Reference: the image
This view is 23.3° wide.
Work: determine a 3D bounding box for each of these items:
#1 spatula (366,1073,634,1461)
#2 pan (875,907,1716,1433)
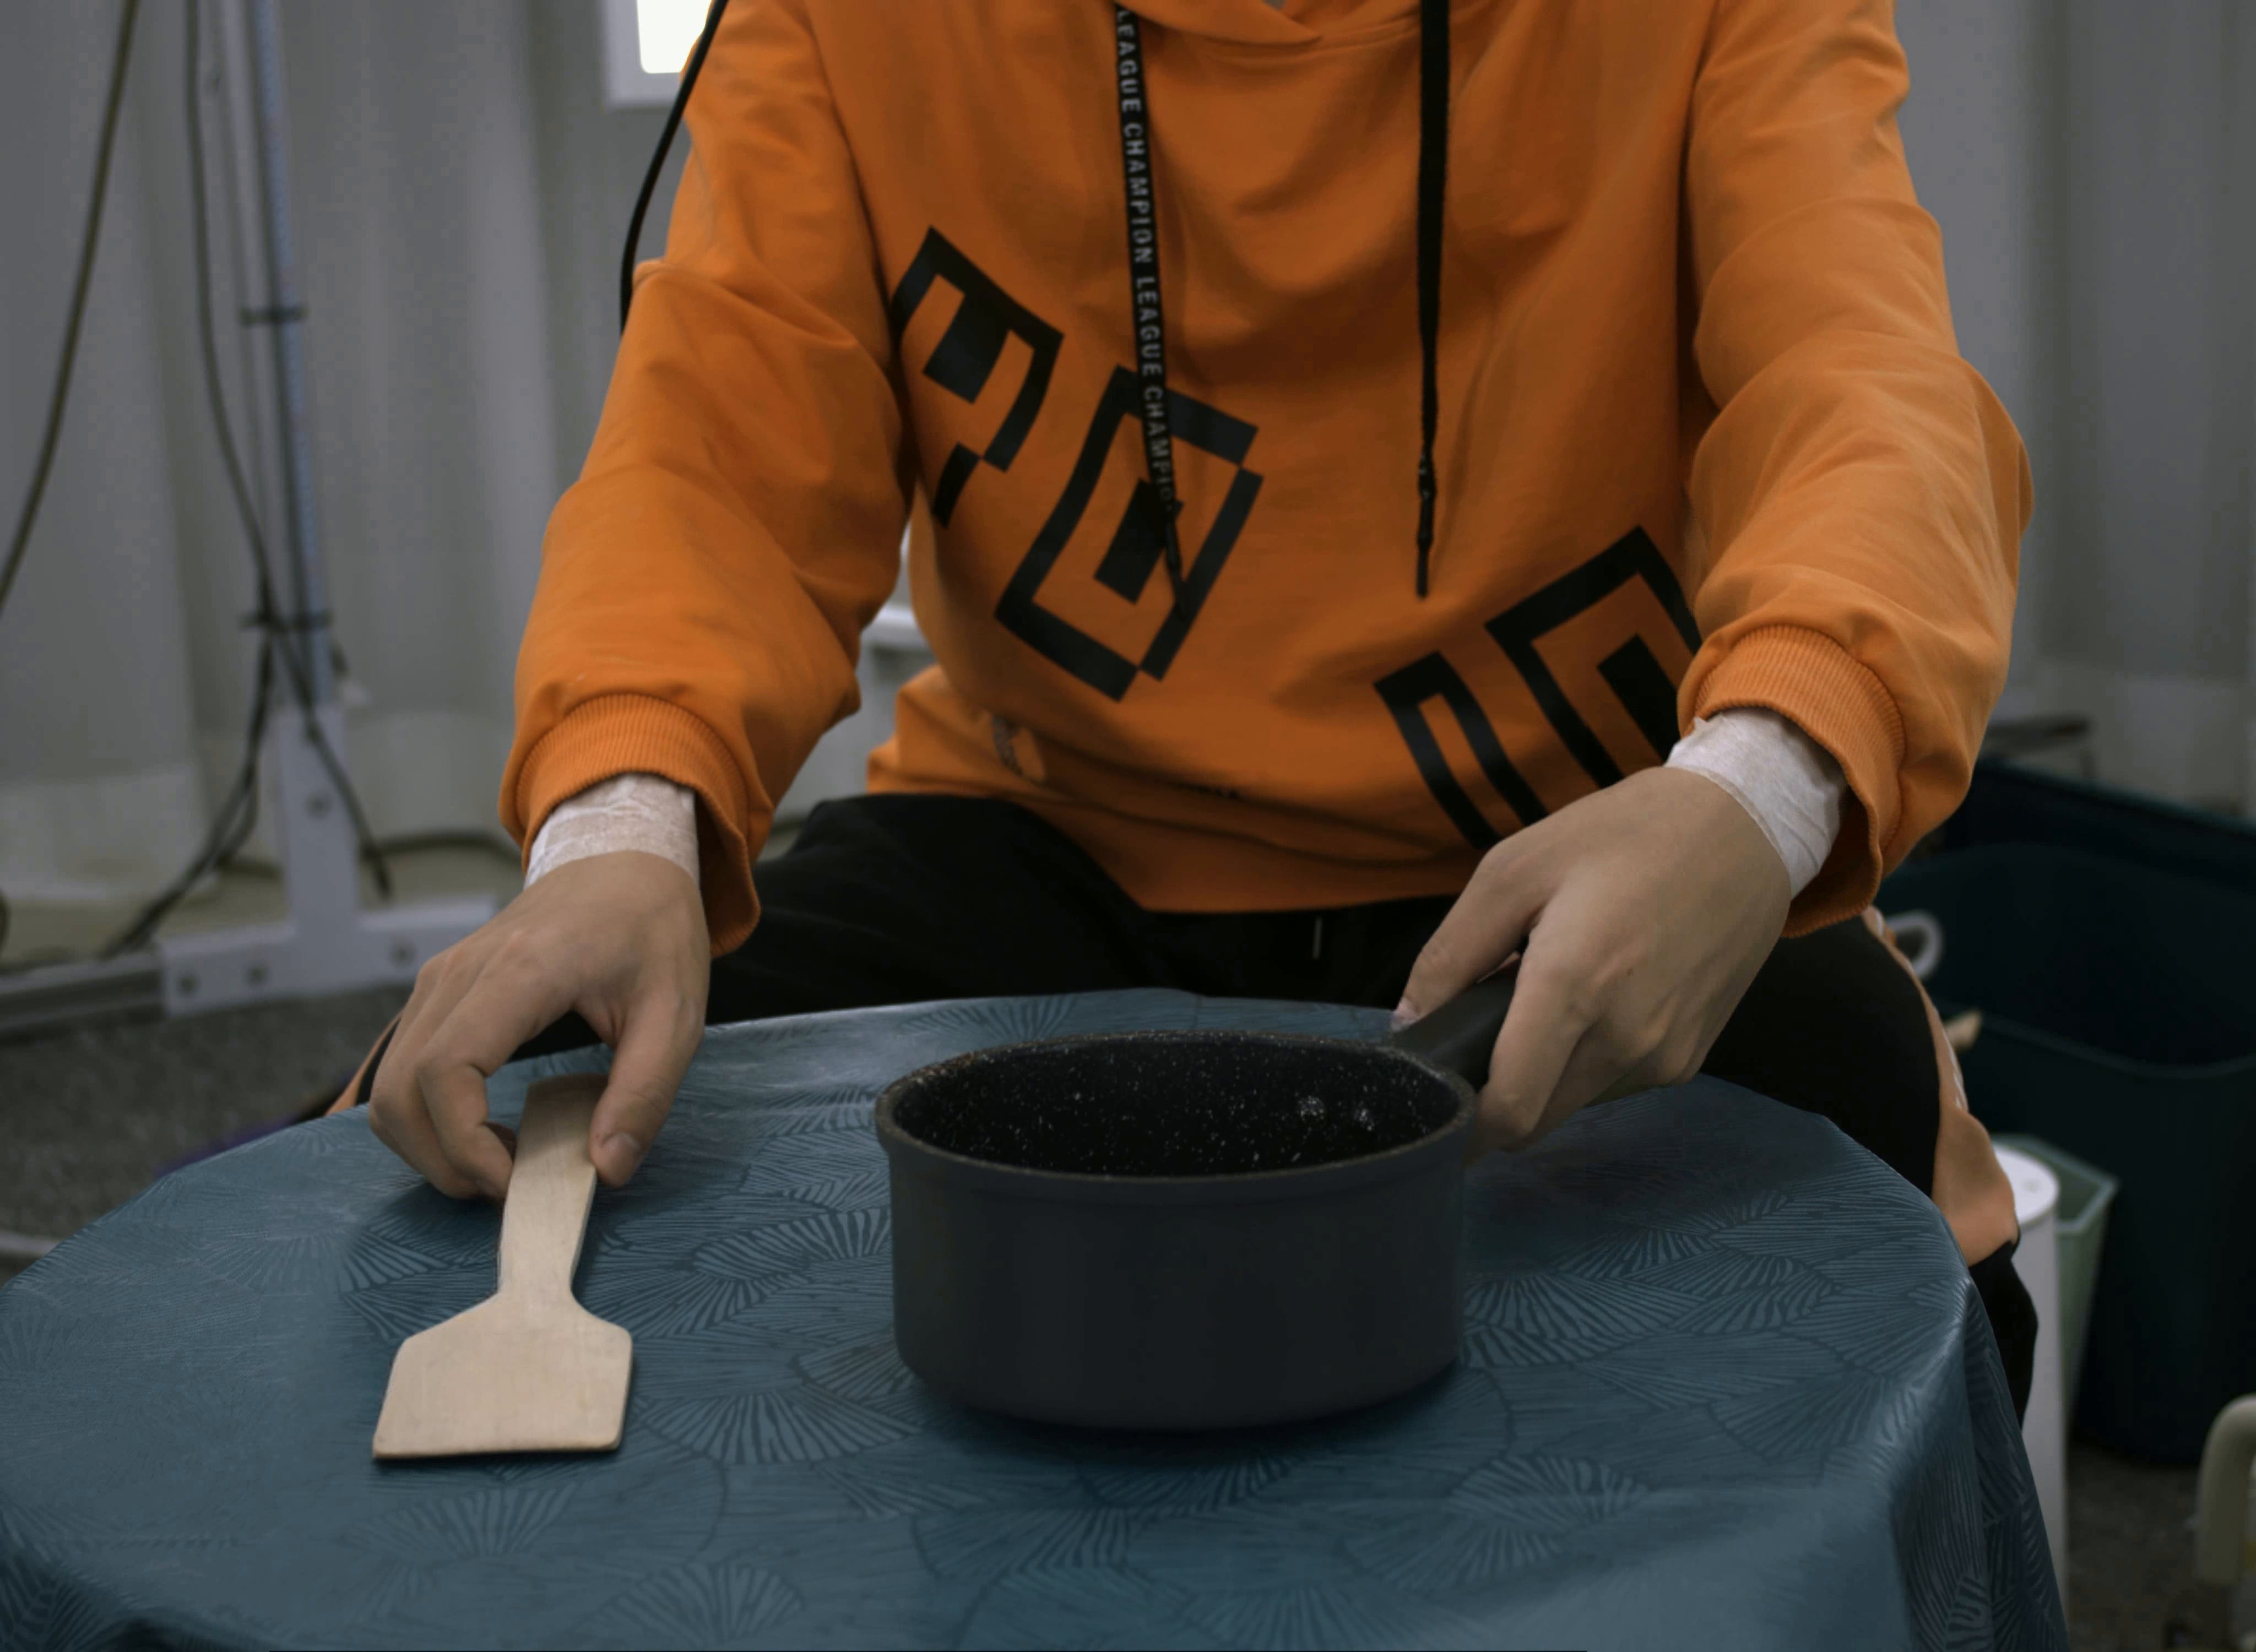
[{"bbox_3d":[-0.179,0.130,1.657,0.072,0.010,0.295,-5,18,2],"label":"spatula"},{"bbox_3d":[0.065,0.097,1.610,0.173,0.086,0.328,10,17,40],"label":"pan"}]
